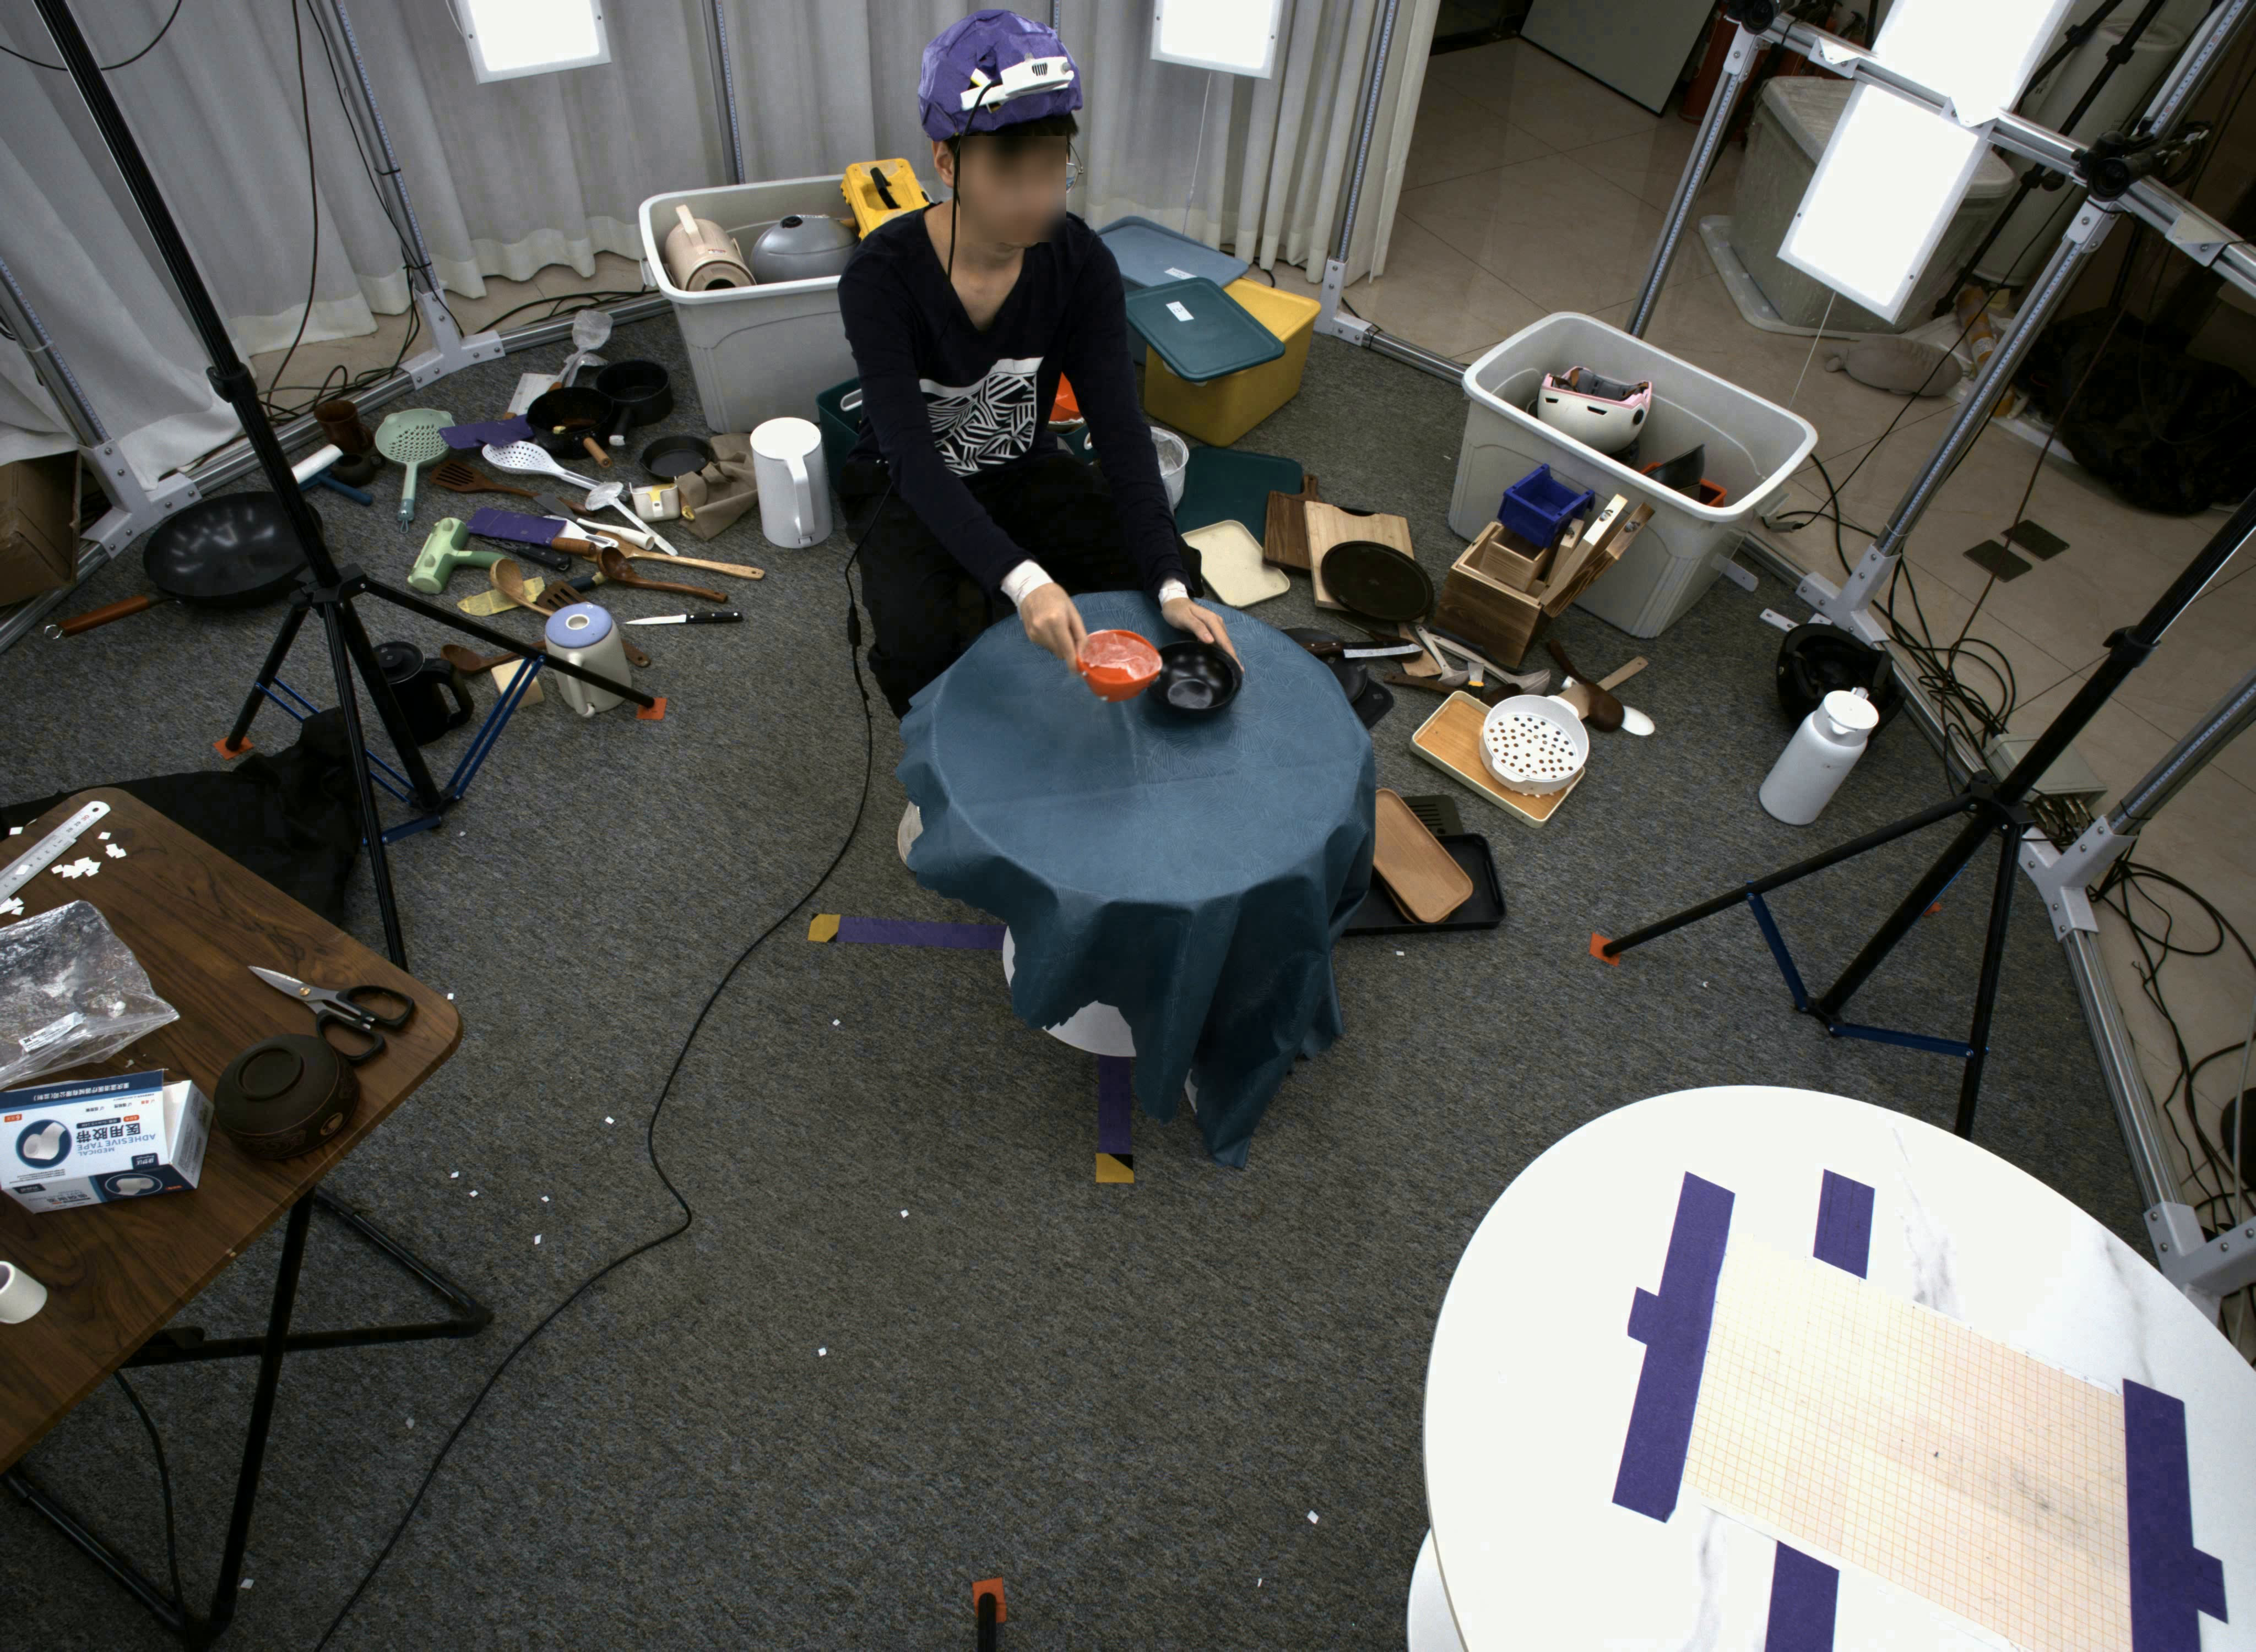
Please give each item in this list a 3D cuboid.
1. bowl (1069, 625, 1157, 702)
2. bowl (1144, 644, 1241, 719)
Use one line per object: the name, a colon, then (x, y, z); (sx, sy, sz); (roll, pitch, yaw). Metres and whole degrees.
bowl: (-0.020, -0.209, 1.697); (0.119, 0.050, 0.122); (1, 51, -2)
bowl: (0.089, -0.196, 1.815); (0.140, 0.048, 0.143); (0, 45, -1)
